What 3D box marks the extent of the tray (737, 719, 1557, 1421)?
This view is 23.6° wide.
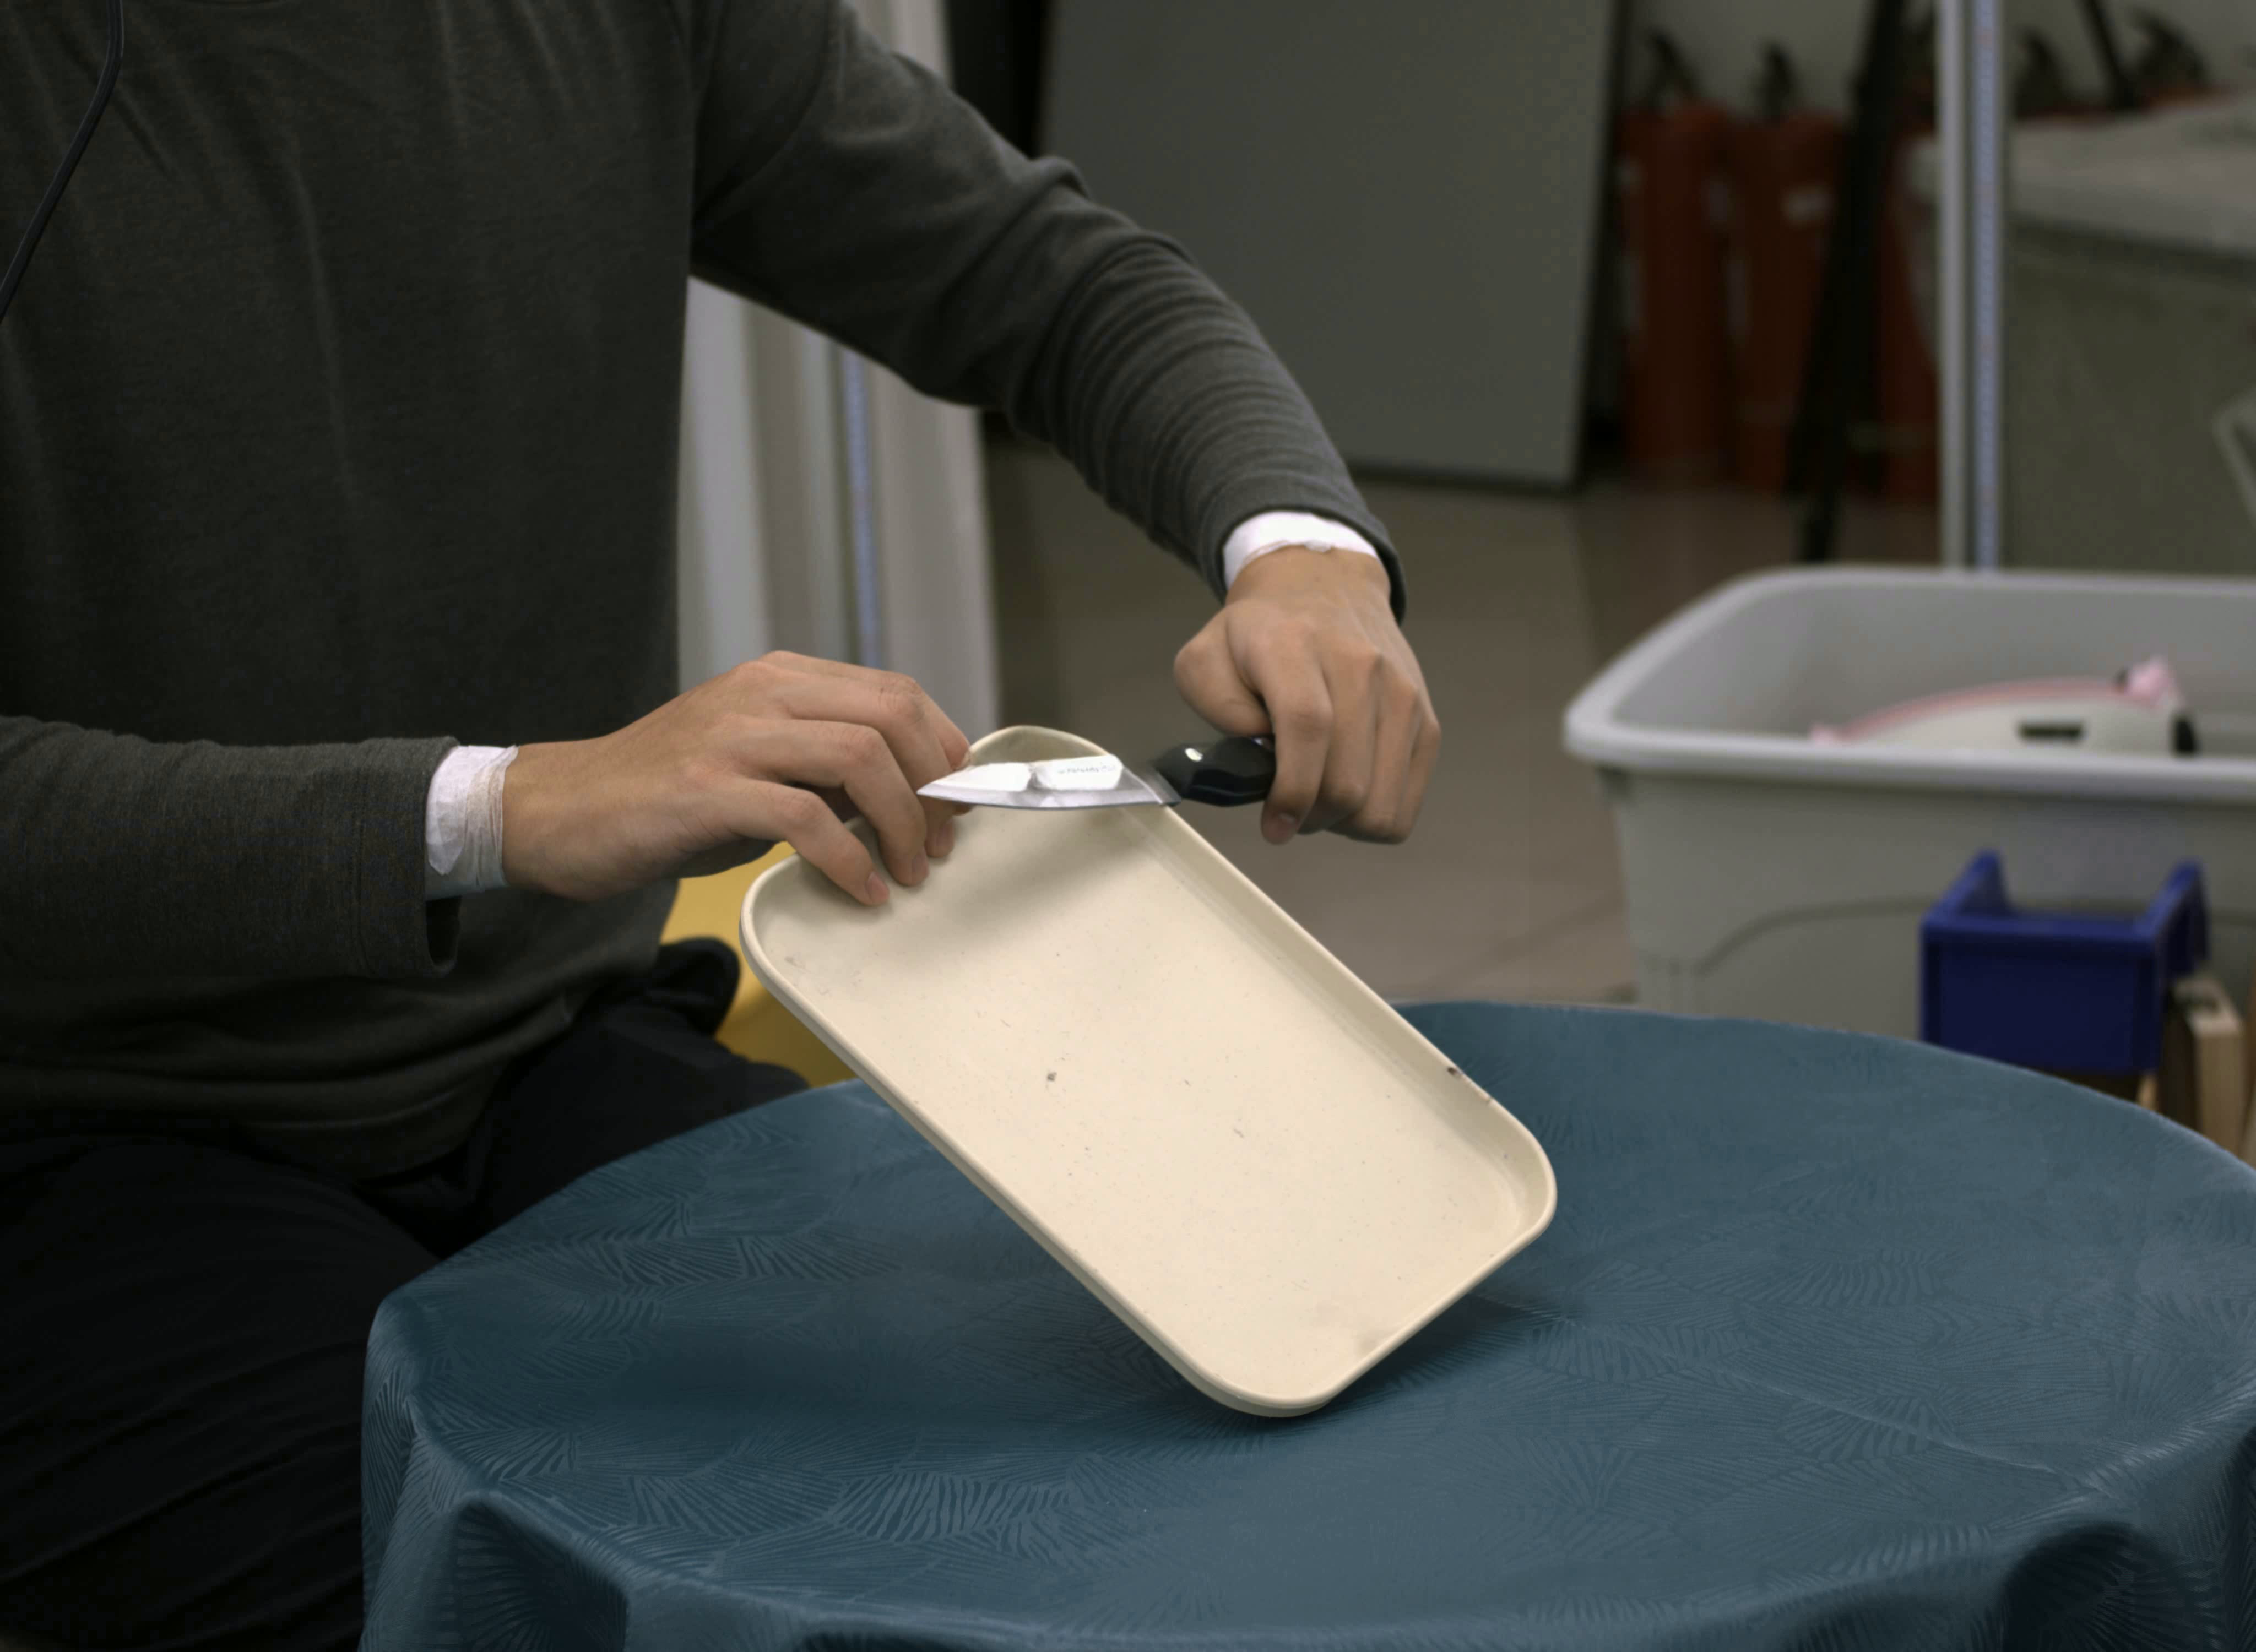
[{"bbox_3d":[0.006,0.072,1.631,0.241,0.017,0.168,42,45,18],"label":"tray"}]

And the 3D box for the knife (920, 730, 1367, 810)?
[{"bbox_3d":[0.005,-0.017,1.708,0.025,0.016,0.233,46,27,25],"label":"knife"}]
